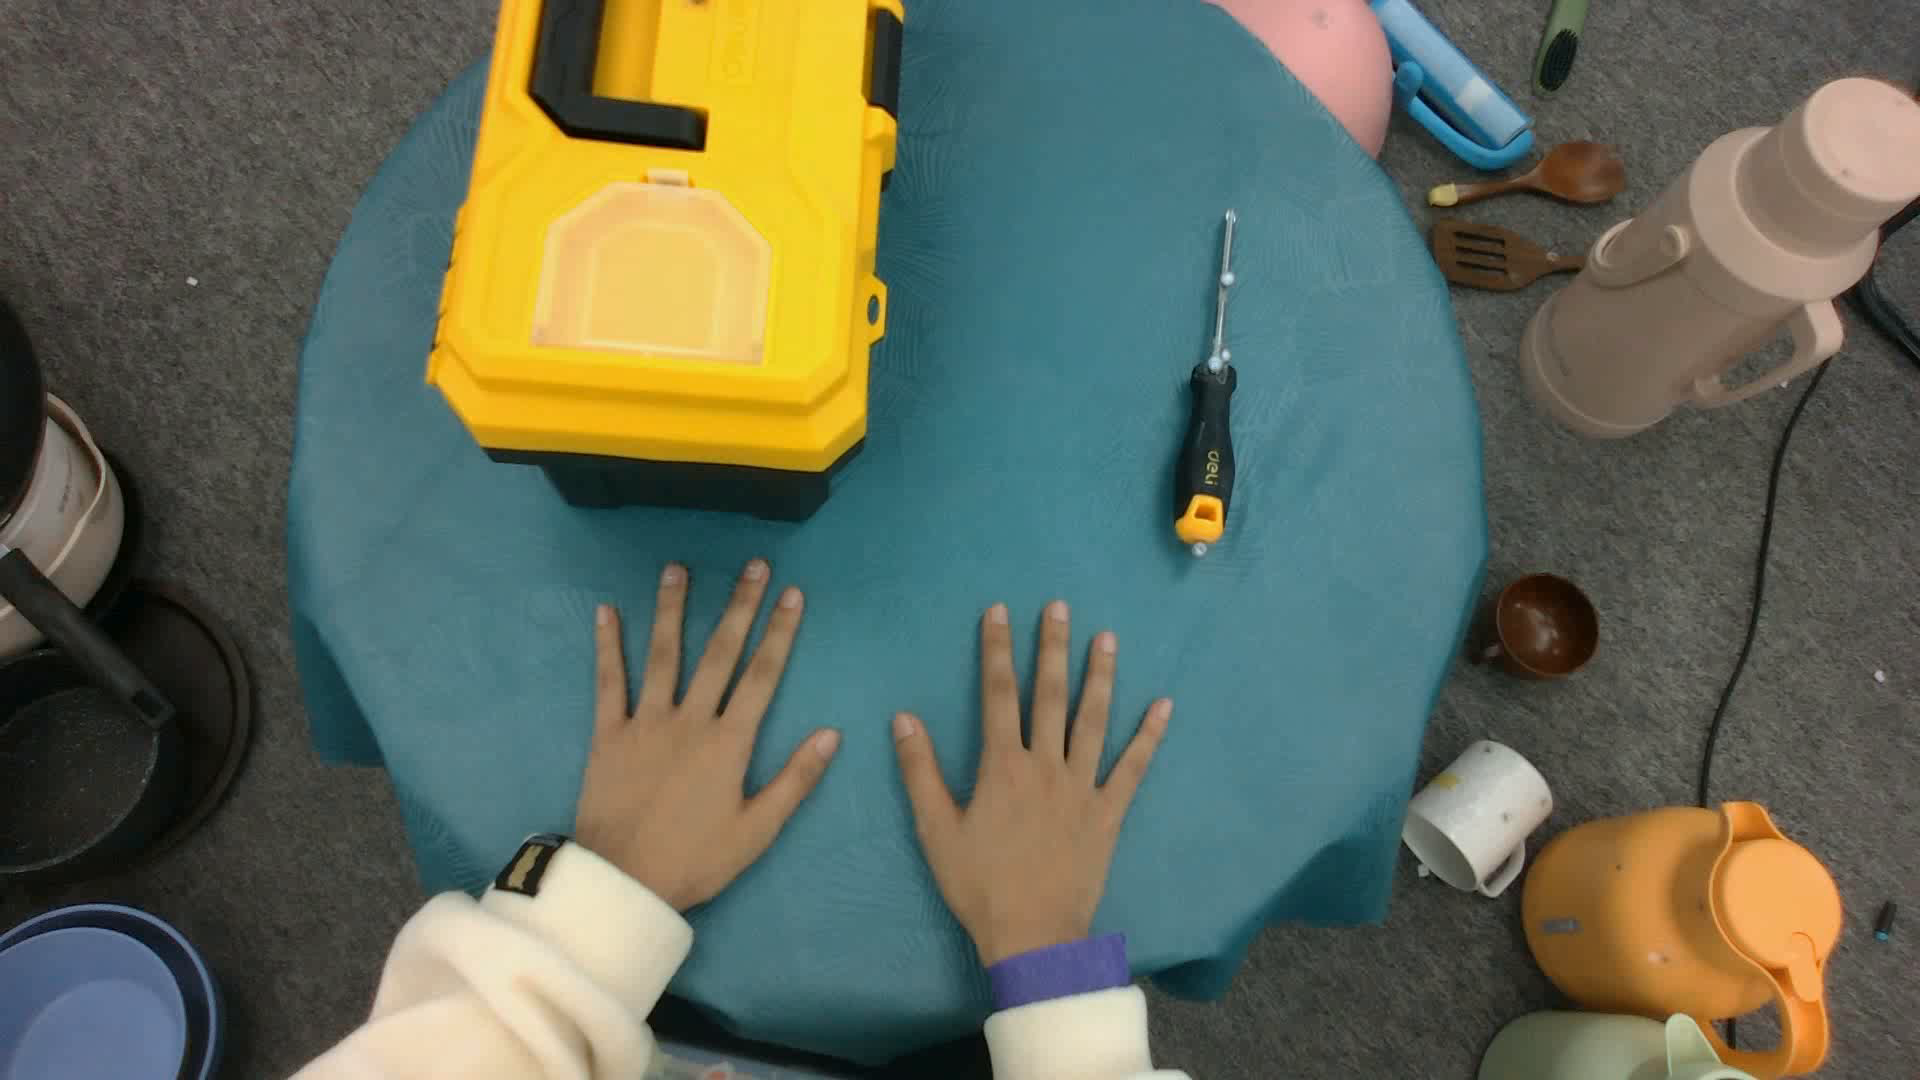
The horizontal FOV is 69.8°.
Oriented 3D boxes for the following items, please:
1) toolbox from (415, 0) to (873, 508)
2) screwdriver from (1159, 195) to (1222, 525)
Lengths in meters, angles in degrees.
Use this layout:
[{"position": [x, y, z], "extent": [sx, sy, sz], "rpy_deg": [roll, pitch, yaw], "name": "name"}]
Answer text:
[{"position": [-0.127, -0.193, 0.636], "extent": [0.181, 0.172, 0.352], "rpy_deg": [4, 72, -5], "name": "toolbox"}, {"position": [0.125, -0.100, 0.710], "extent": [0.031, 0.031, 0.197], "rpy_deg": [11, 70, -3], "name": "screwdriver"}]
